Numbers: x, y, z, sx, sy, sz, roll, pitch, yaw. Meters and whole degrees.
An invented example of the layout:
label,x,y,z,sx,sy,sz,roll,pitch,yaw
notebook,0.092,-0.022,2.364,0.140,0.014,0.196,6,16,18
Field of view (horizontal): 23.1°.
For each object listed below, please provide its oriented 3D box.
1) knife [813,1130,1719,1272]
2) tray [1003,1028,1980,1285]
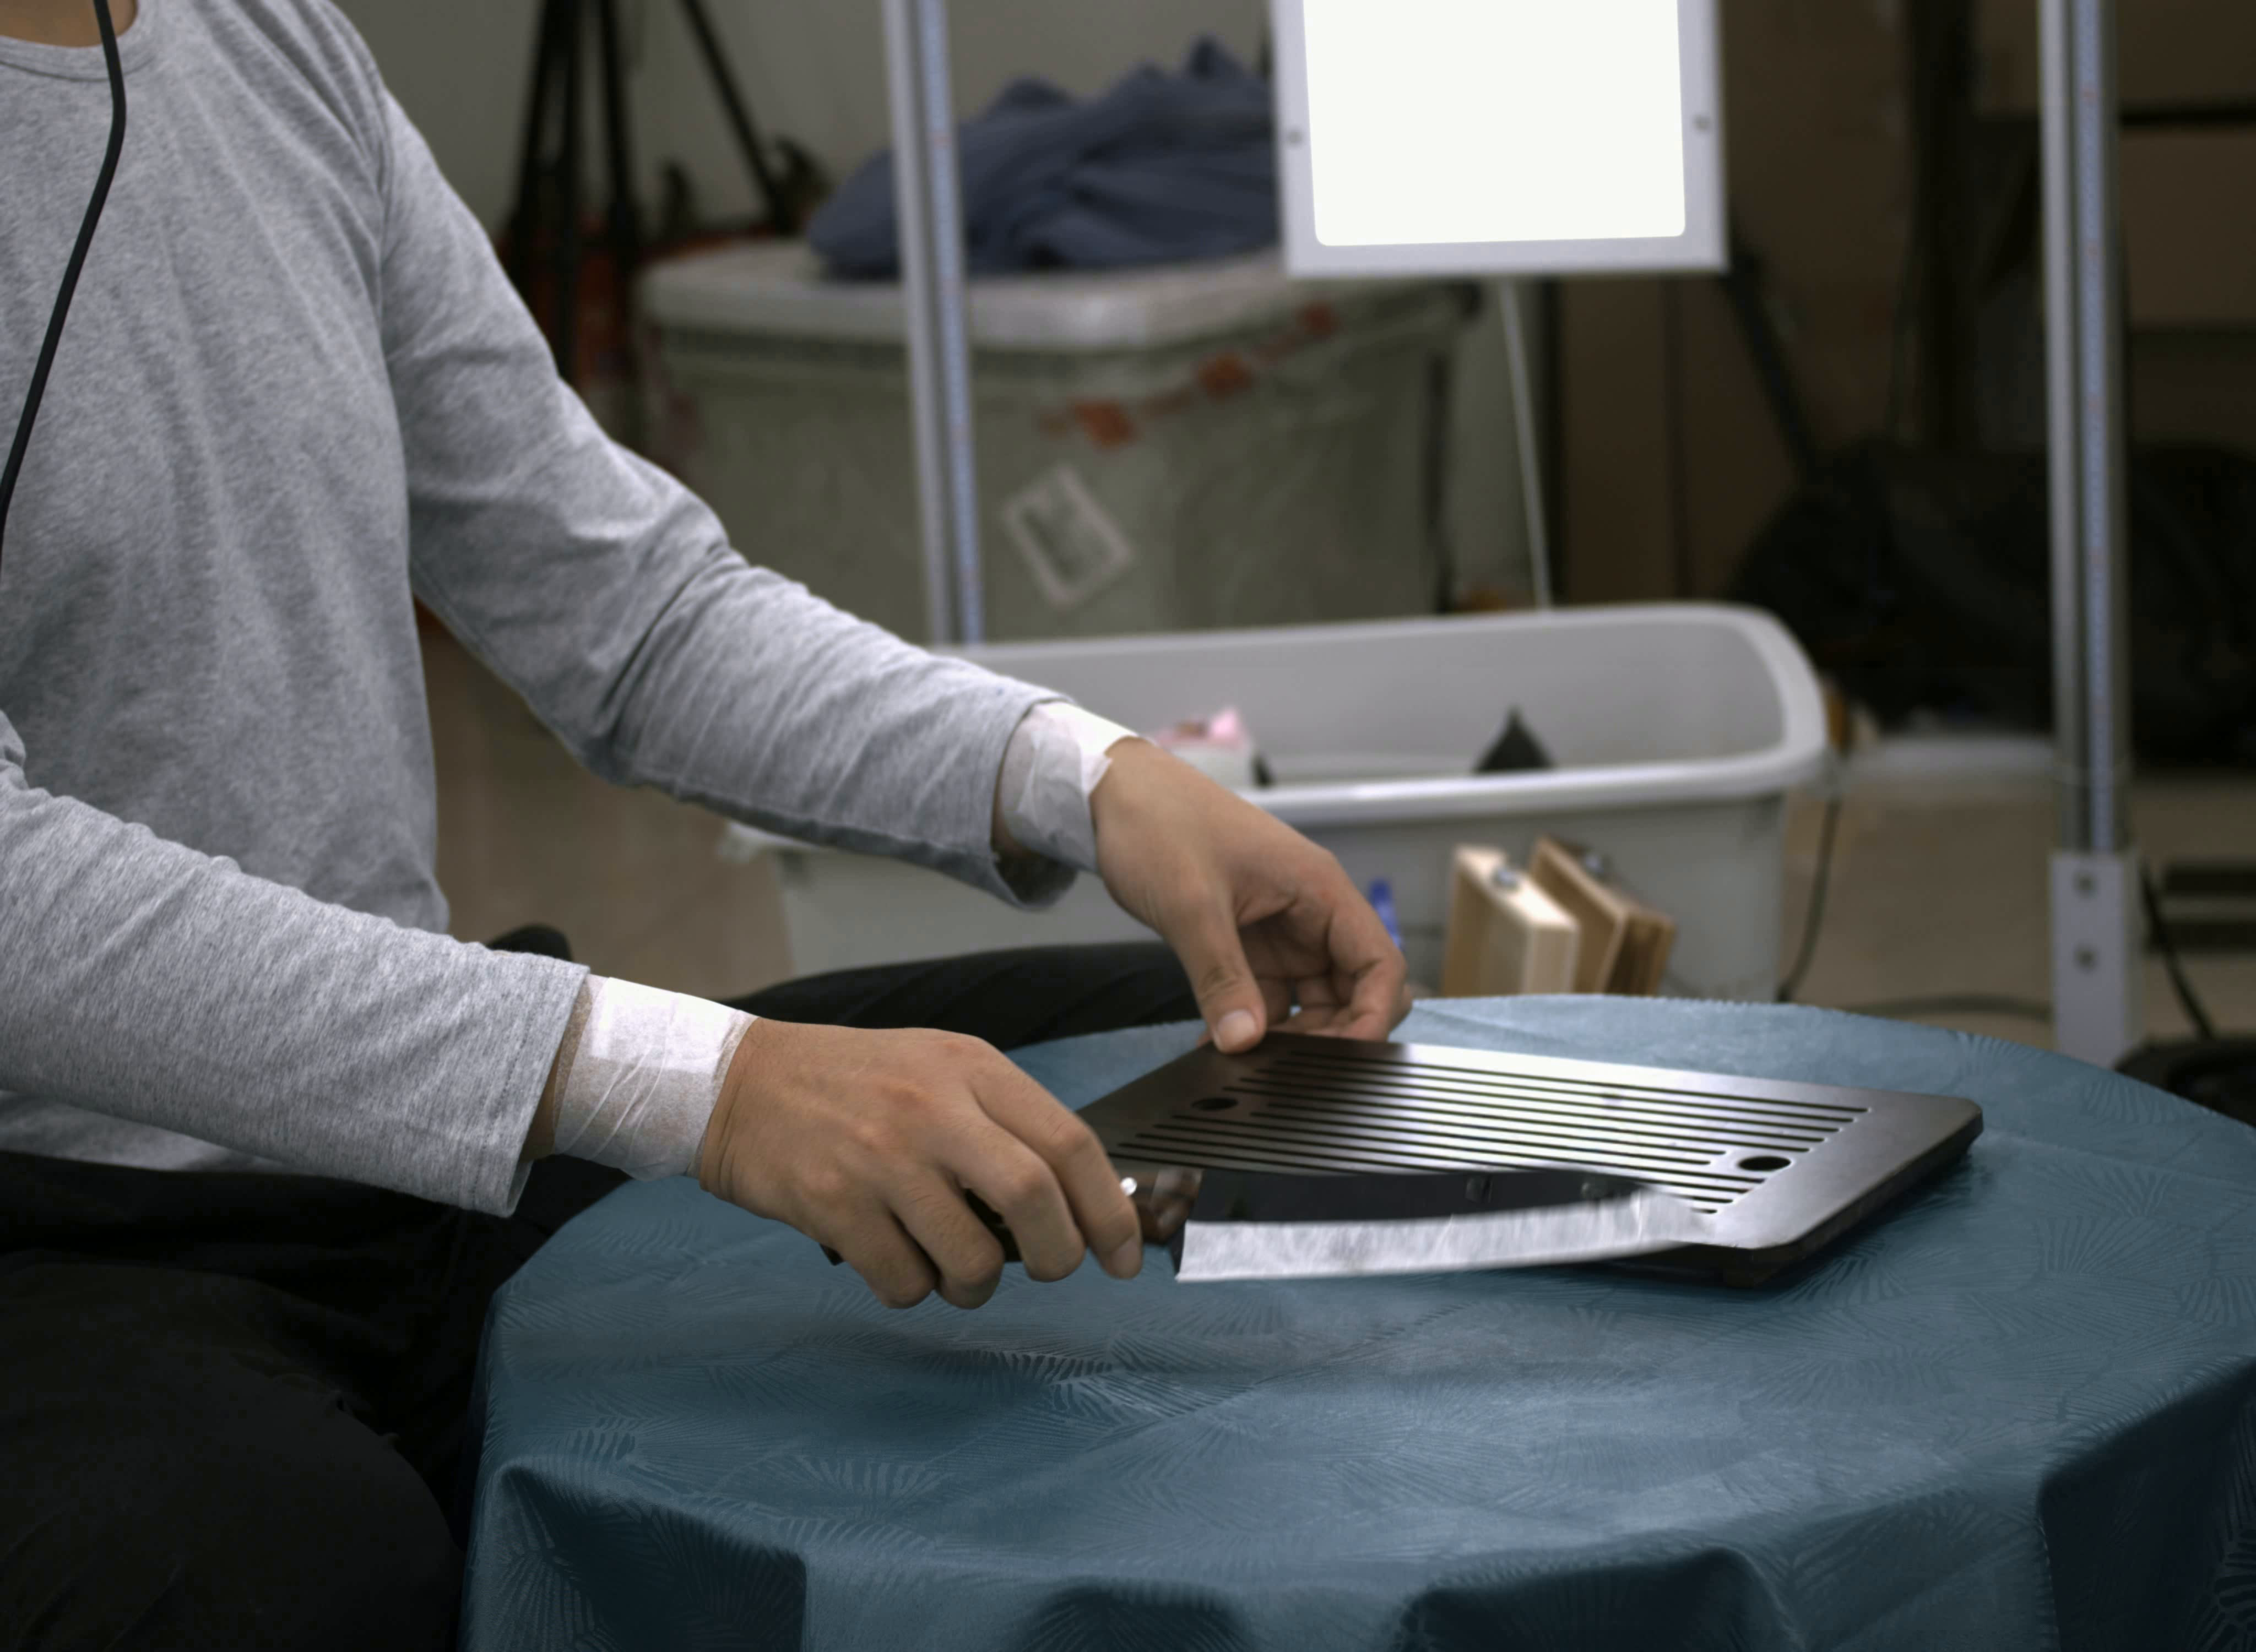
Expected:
label,x,y,z,sx,sy,sz,roll,pitch,yaw
knife,0.041,0.119,1.718,0.291,0.020,0.050,-3,47,14
tray,0.124,0.111,1.884,0.312,0.019,0.166,4,17,35
